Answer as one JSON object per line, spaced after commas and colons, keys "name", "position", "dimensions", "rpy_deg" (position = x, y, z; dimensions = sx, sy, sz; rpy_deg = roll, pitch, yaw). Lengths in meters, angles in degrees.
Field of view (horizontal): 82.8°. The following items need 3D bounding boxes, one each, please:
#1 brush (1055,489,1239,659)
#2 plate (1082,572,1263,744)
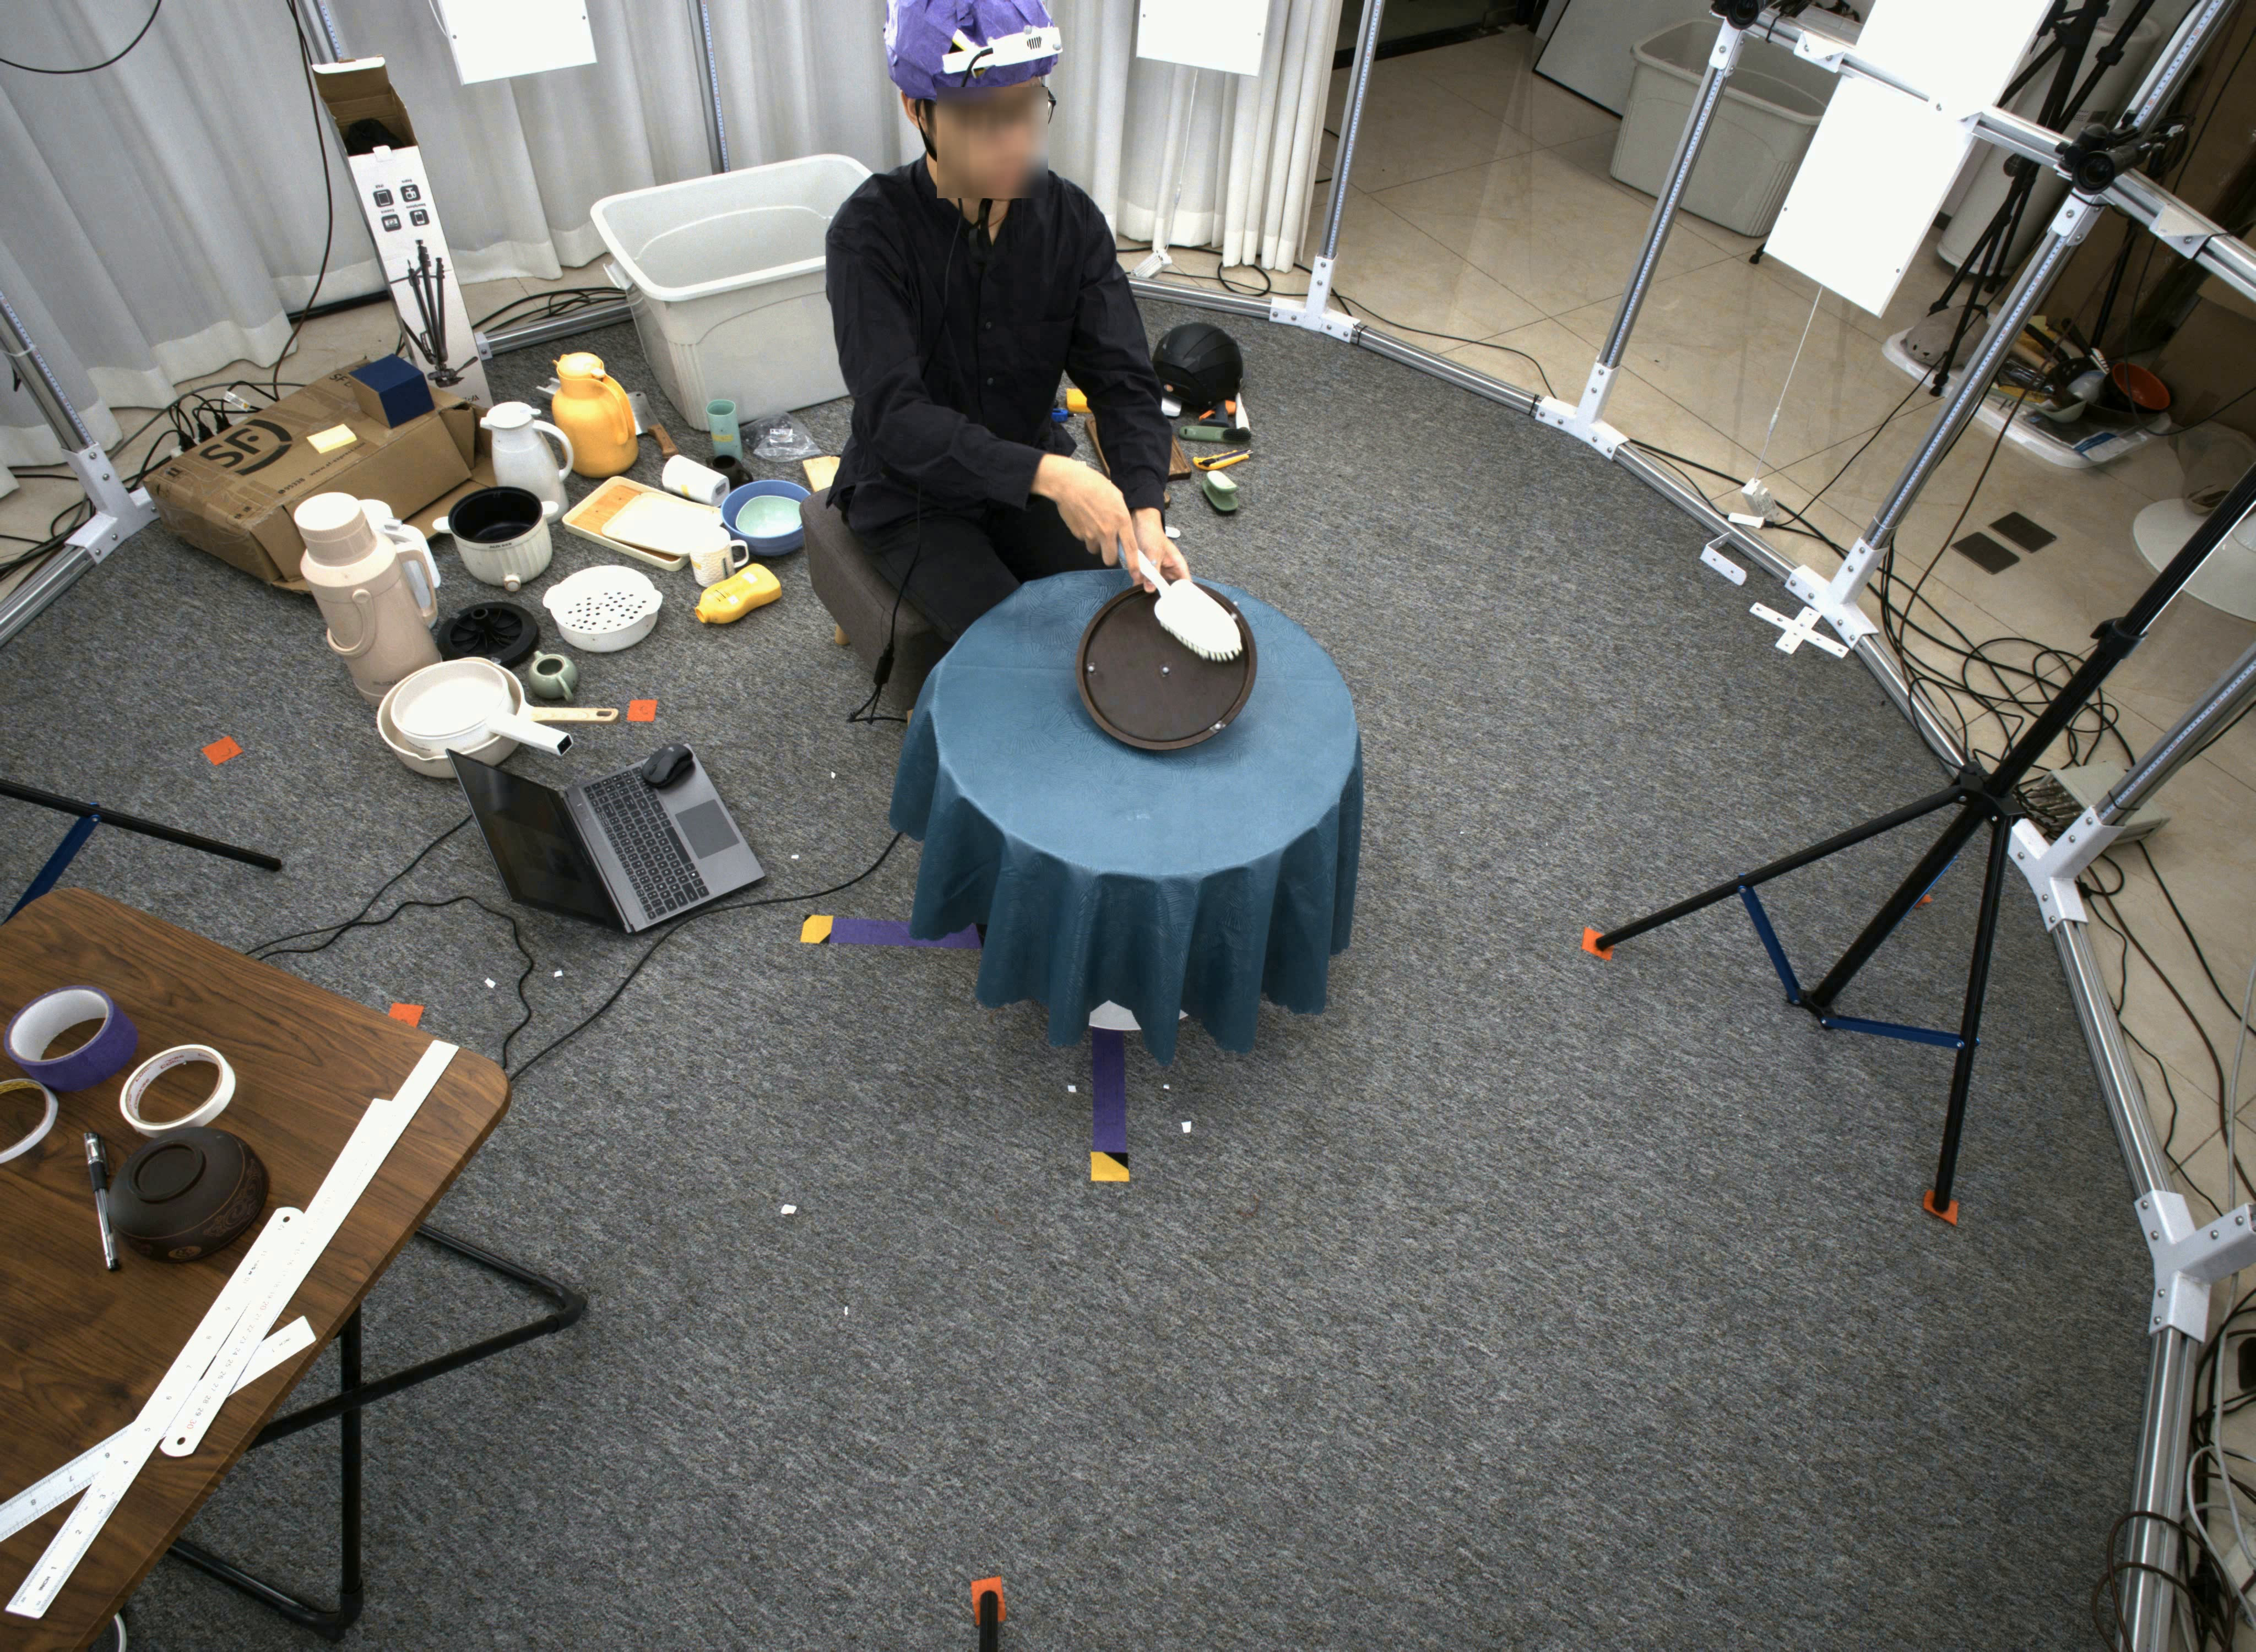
{"name": "brush", "position": [0.028, -0.348, 1.781], "dimensions": [0.326, 0.083, 0.084], "rpy_deg": [41, 47, 4]}
{"name": "plate", "position": [0.062, -0.234, 1.786], "dimensions": [0.255, 0.028, 0.258], "rpy_deg": [-3, 74, 10]}
